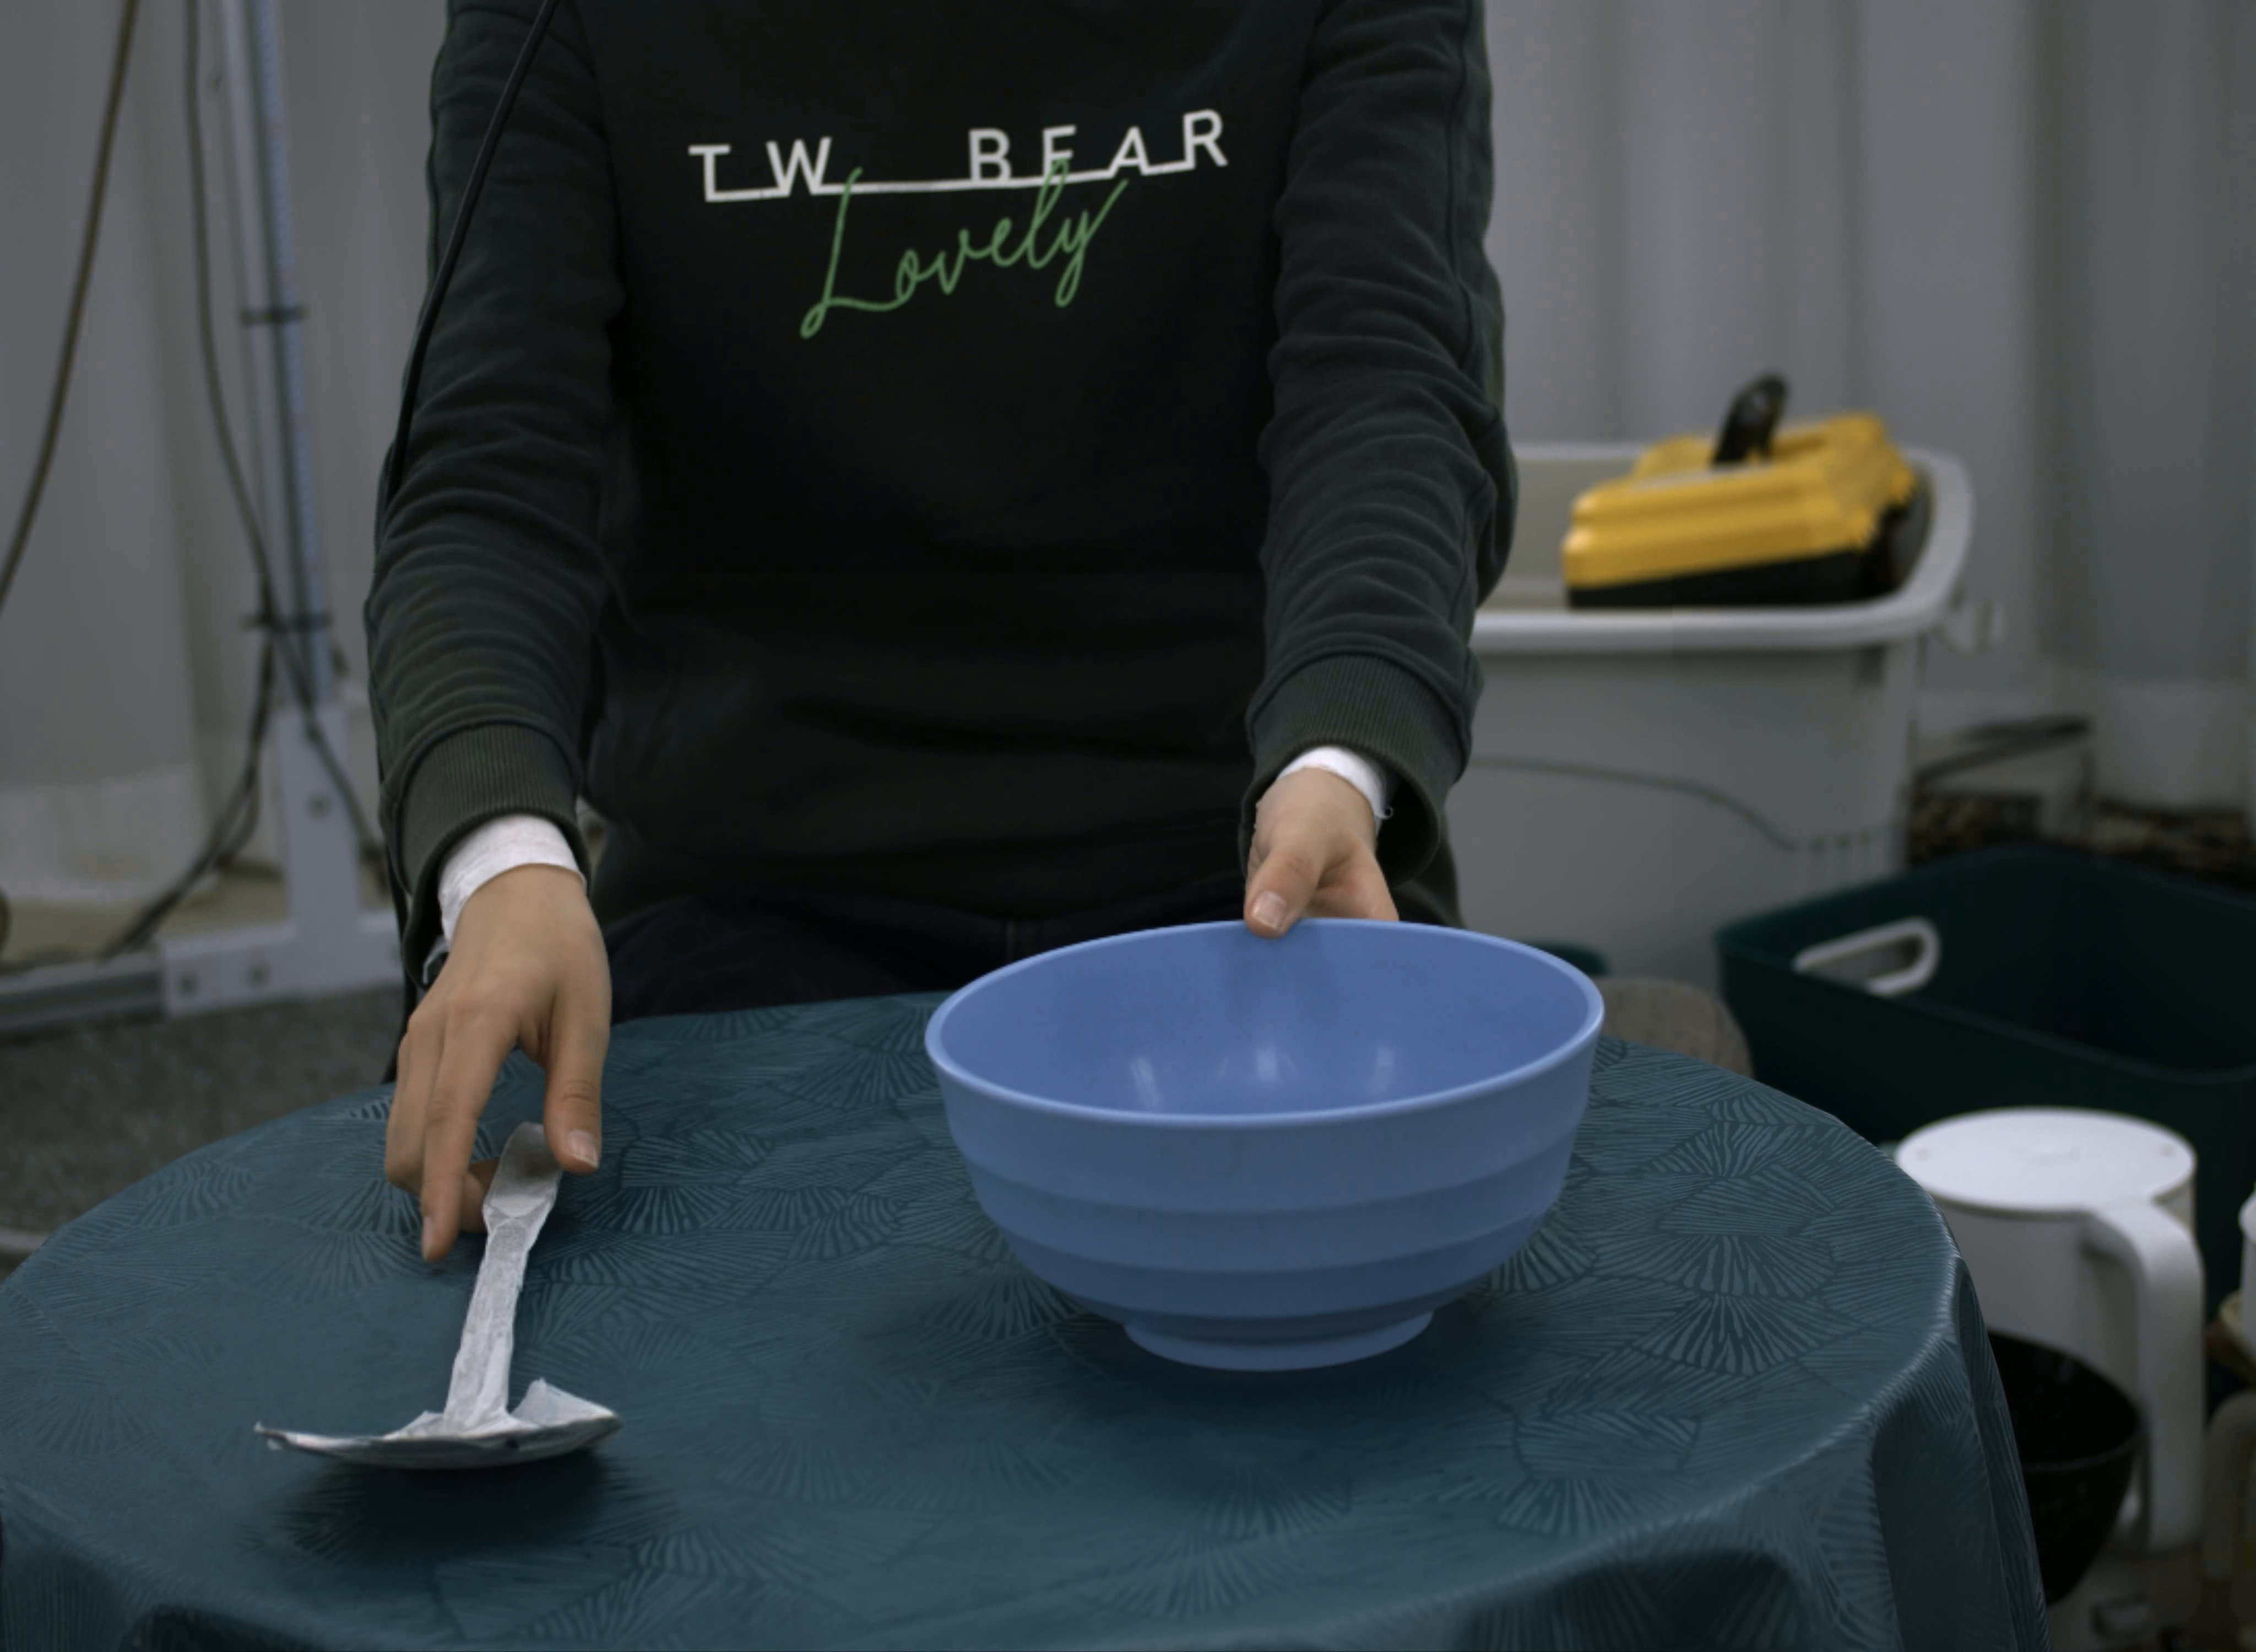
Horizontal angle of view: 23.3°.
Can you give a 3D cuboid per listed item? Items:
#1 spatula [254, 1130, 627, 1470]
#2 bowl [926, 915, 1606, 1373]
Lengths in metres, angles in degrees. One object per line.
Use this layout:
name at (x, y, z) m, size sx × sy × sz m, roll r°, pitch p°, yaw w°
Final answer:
spatula at (-0.182, 0.131, 1.614) m, size 0.098 × 0.044 × 0.367 m, roll -4°, pitch 15°, yaw 1°
bowl at (0.042, 0.098, 1.585) m, size 0.196 × 0.095 × 0.198 m, roll -4°, pitch 15°, yaw 1°
